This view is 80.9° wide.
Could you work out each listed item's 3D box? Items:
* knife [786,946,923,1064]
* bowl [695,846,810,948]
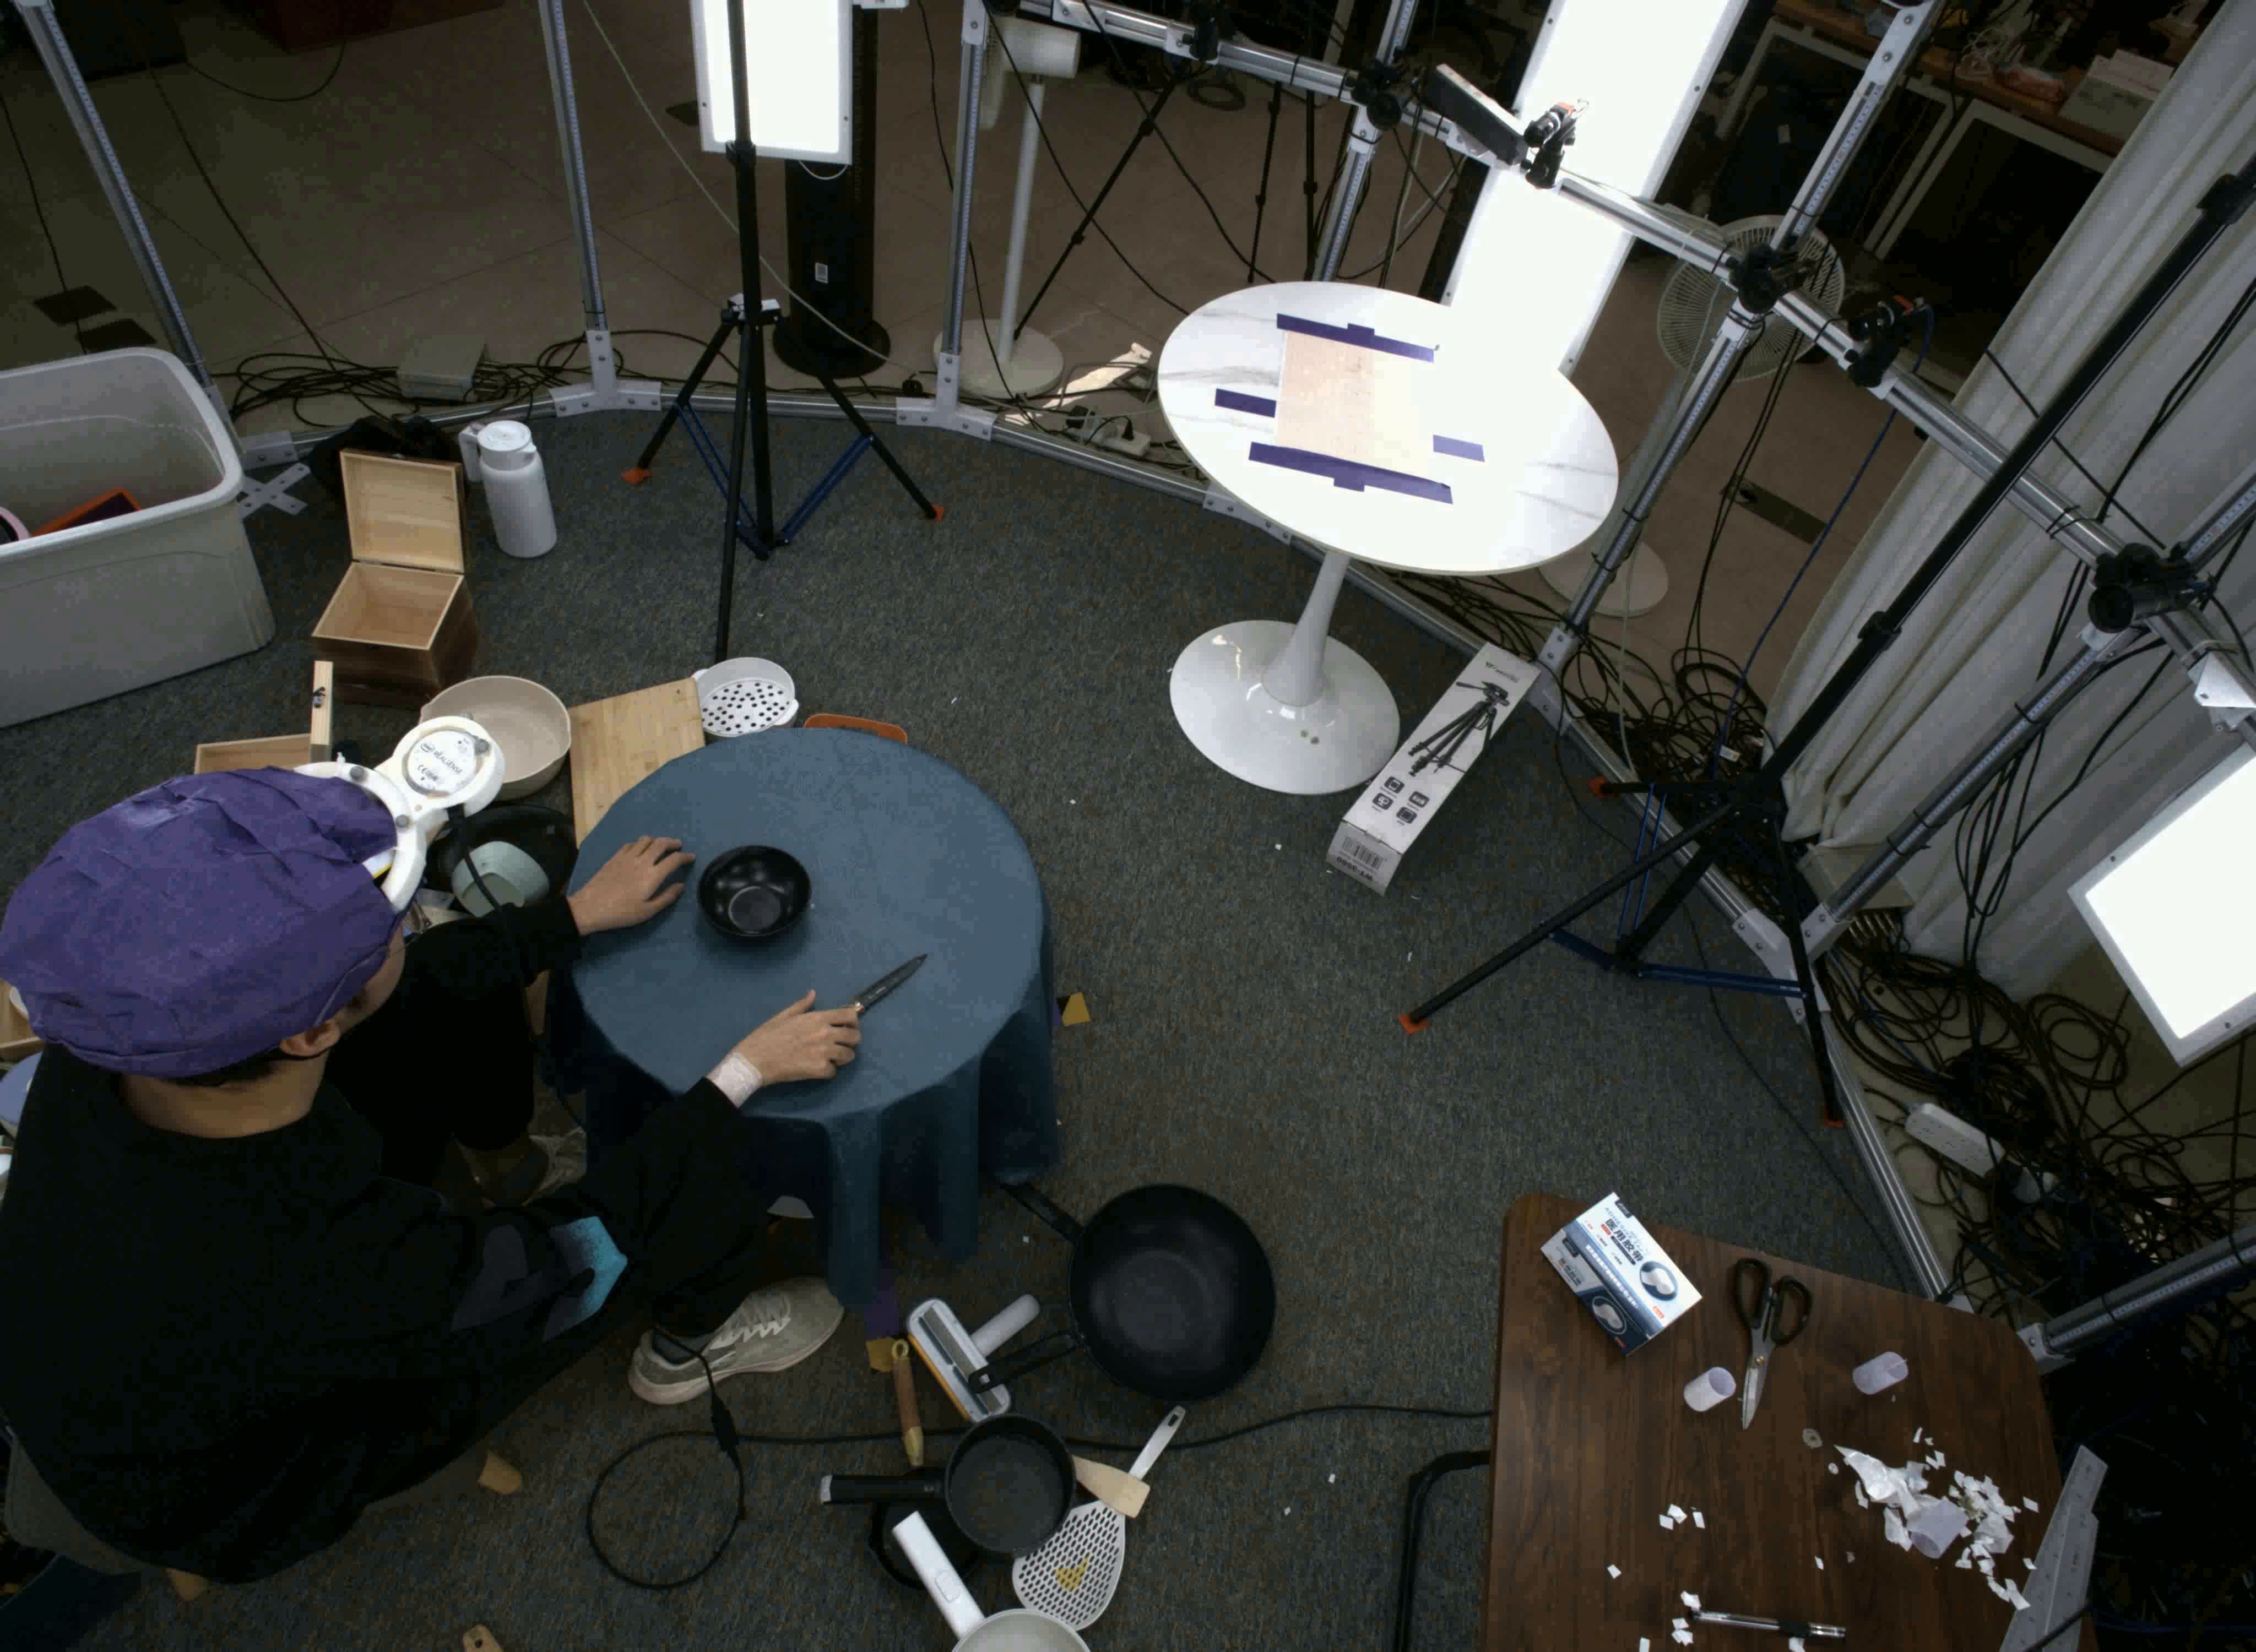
[{"bbox_3d":[-0.326,0.212,1.574,0.025,0.017,0.226,37,52,18],"label":"knife"},{"bbox_3d":[-0.464,0.094,1.604,0.140,0.050,0.138,7,56,-9],"label":"bowl"}]
